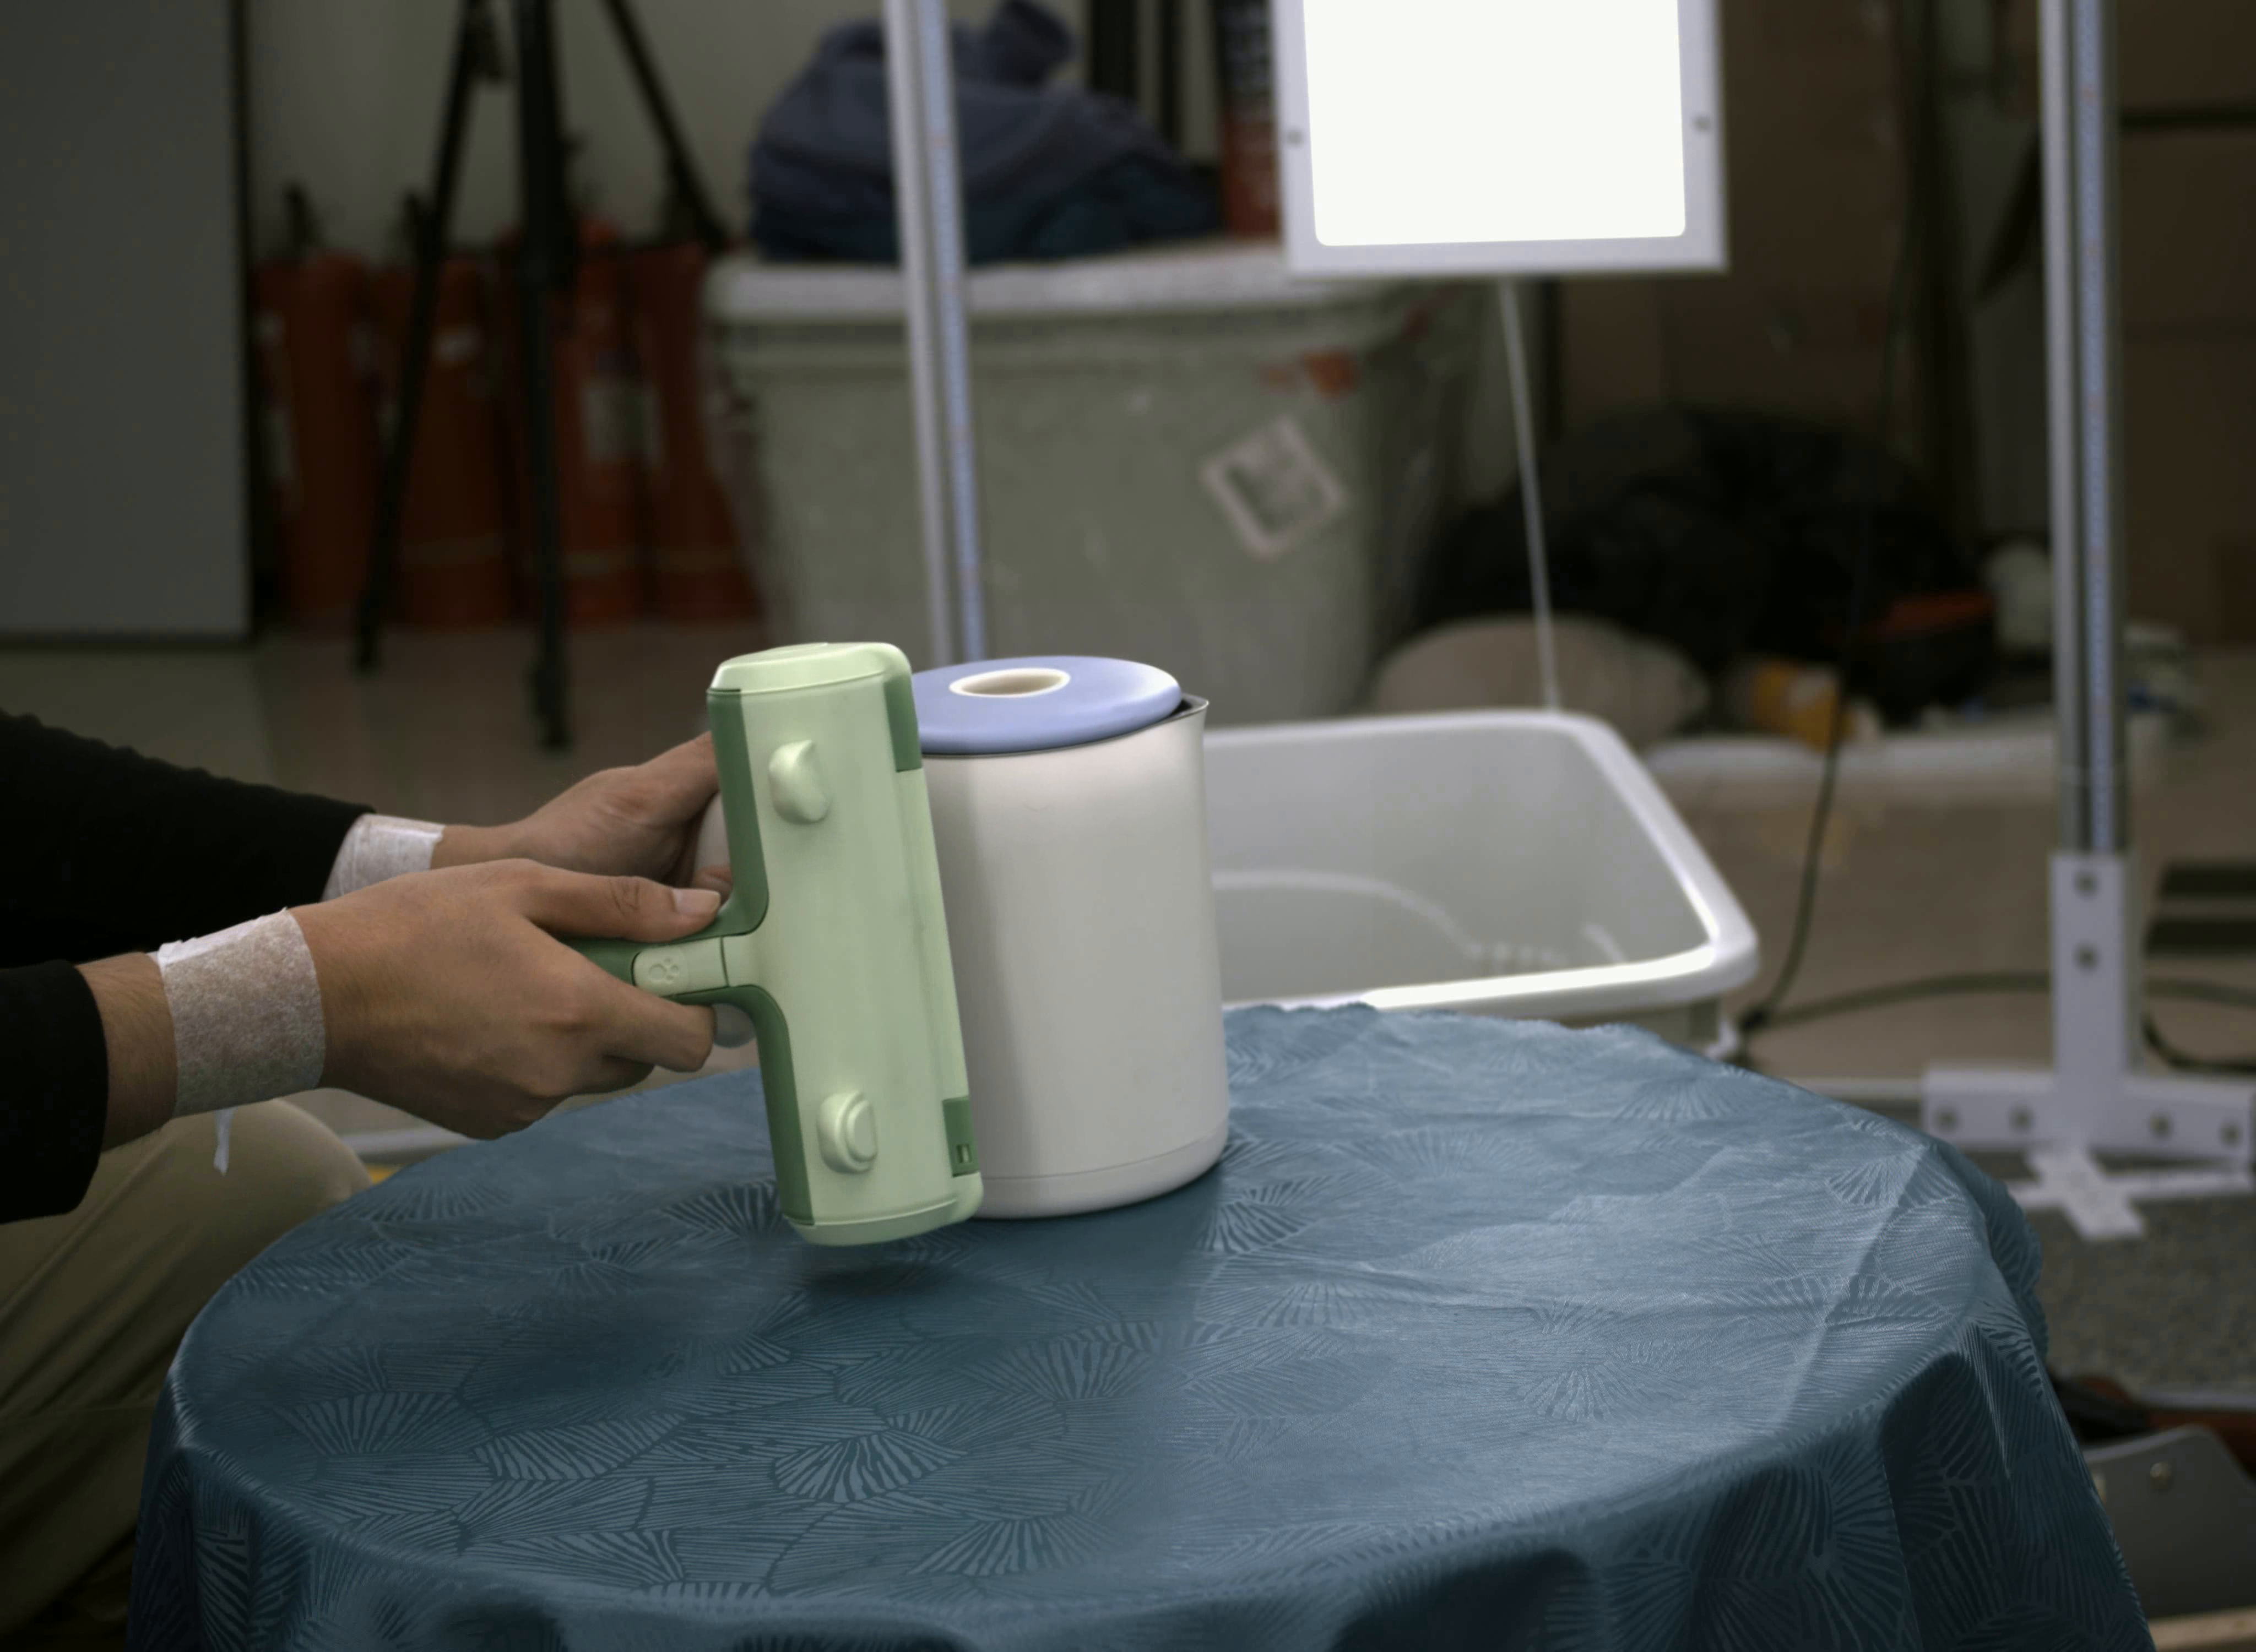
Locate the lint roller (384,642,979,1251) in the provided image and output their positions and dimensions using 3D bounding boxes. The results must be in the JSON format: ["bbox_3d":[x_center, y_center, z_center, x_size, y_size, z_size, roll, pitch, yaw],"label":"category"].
[{"bbox_3d":[-0.150,0.049,1.798,0.182,0.199,0.082,-9,6,-7],"label":"lint roller"}]

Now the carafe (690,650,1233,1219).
[{"bbox_3d":[-0.058,0.039,1.916,0.192,0.183,0.131,-5,13,7],"label":"carafe"}]
